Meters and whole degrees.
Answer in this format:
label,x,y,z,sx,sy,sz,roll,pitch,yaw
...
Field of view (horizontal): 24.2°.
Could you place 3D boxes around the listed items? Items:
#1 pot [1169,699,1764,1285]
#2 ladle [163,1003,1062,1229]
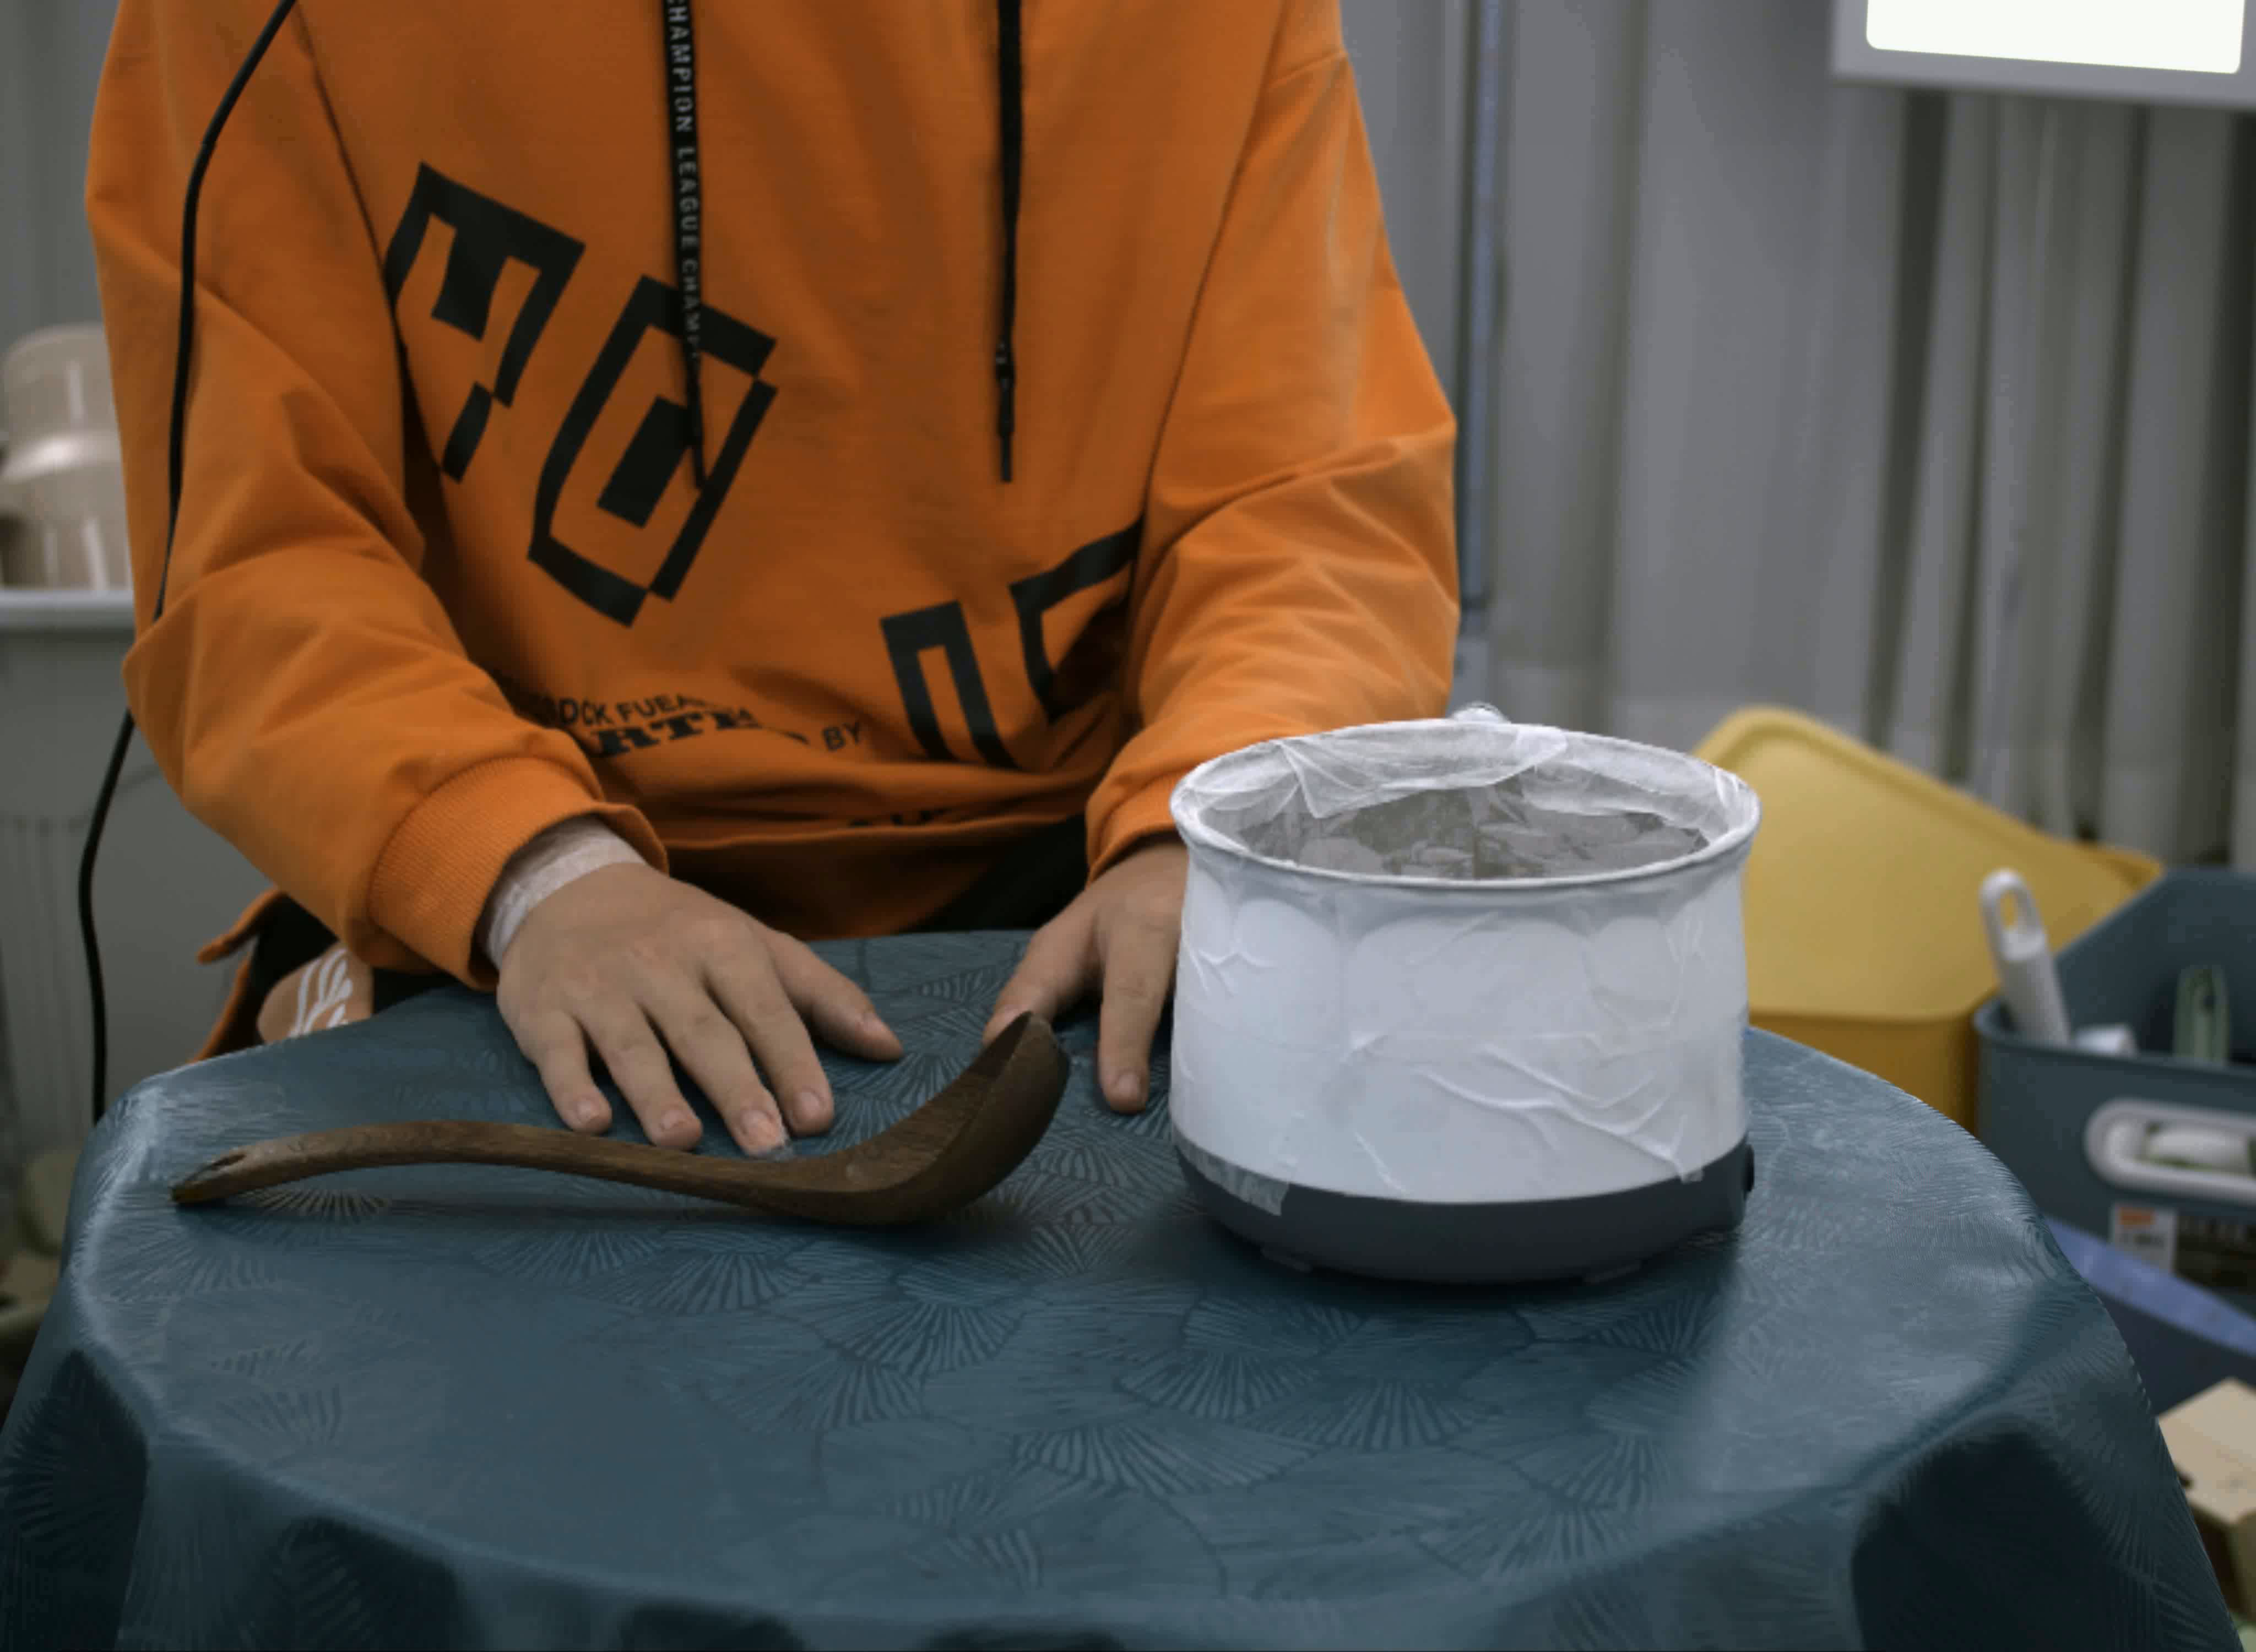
label,x,y,z,sx,sy,sz,roll,pitch,yaw
pot,0.102,0.045,1.609,0.178,0.138,0.233,2,16,4
ladle,-0.156,0.084,1.590,0.273,0.072,0.076,2,13,3
